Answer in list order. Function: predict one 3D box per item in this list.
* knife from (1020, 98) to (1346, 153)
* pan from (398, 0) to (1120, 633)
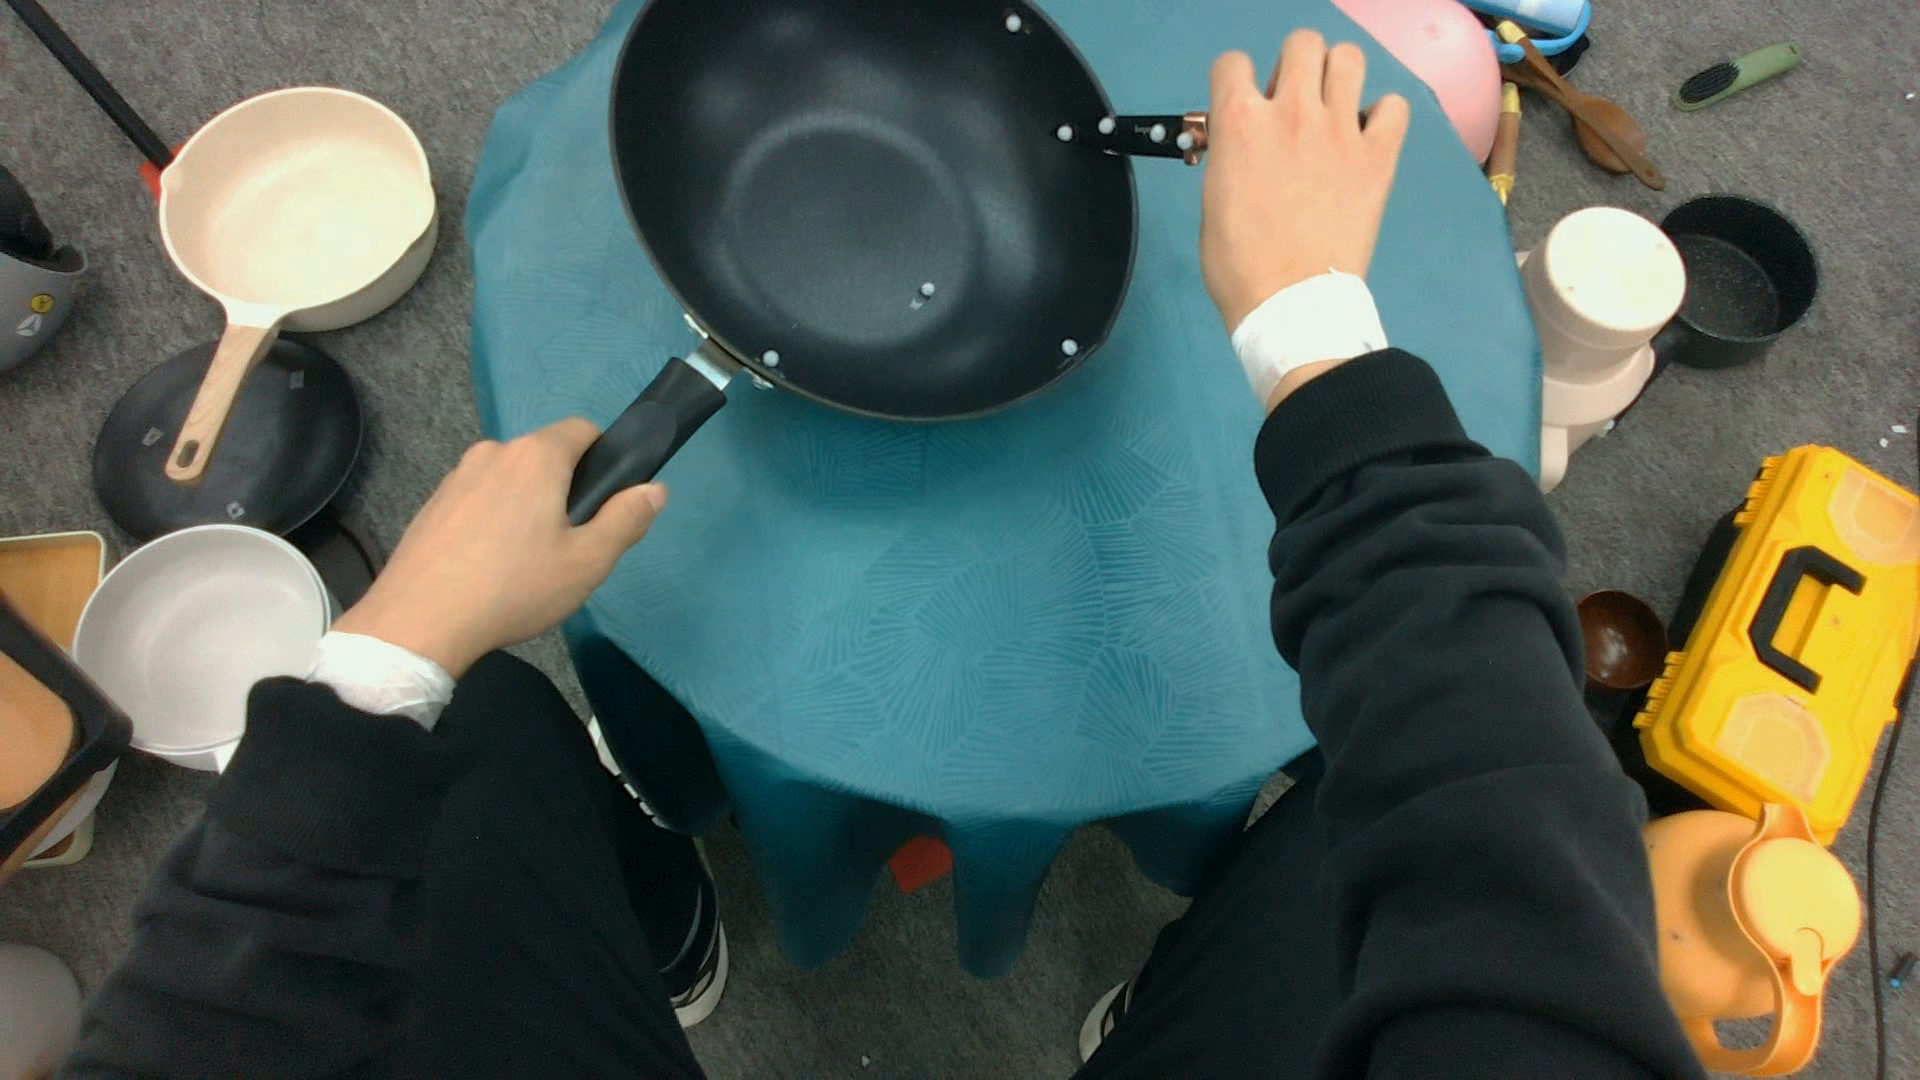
[{"bbox_3d":[0.104,-0.213,0.710,0.017,0.026,0.225,-31,30,-29],"label":"knife"},{"bbox_3d":[-0.108,-0.126,0.705,0.288,0.086,0.465,39,67,-7],"label":"pan"}]
